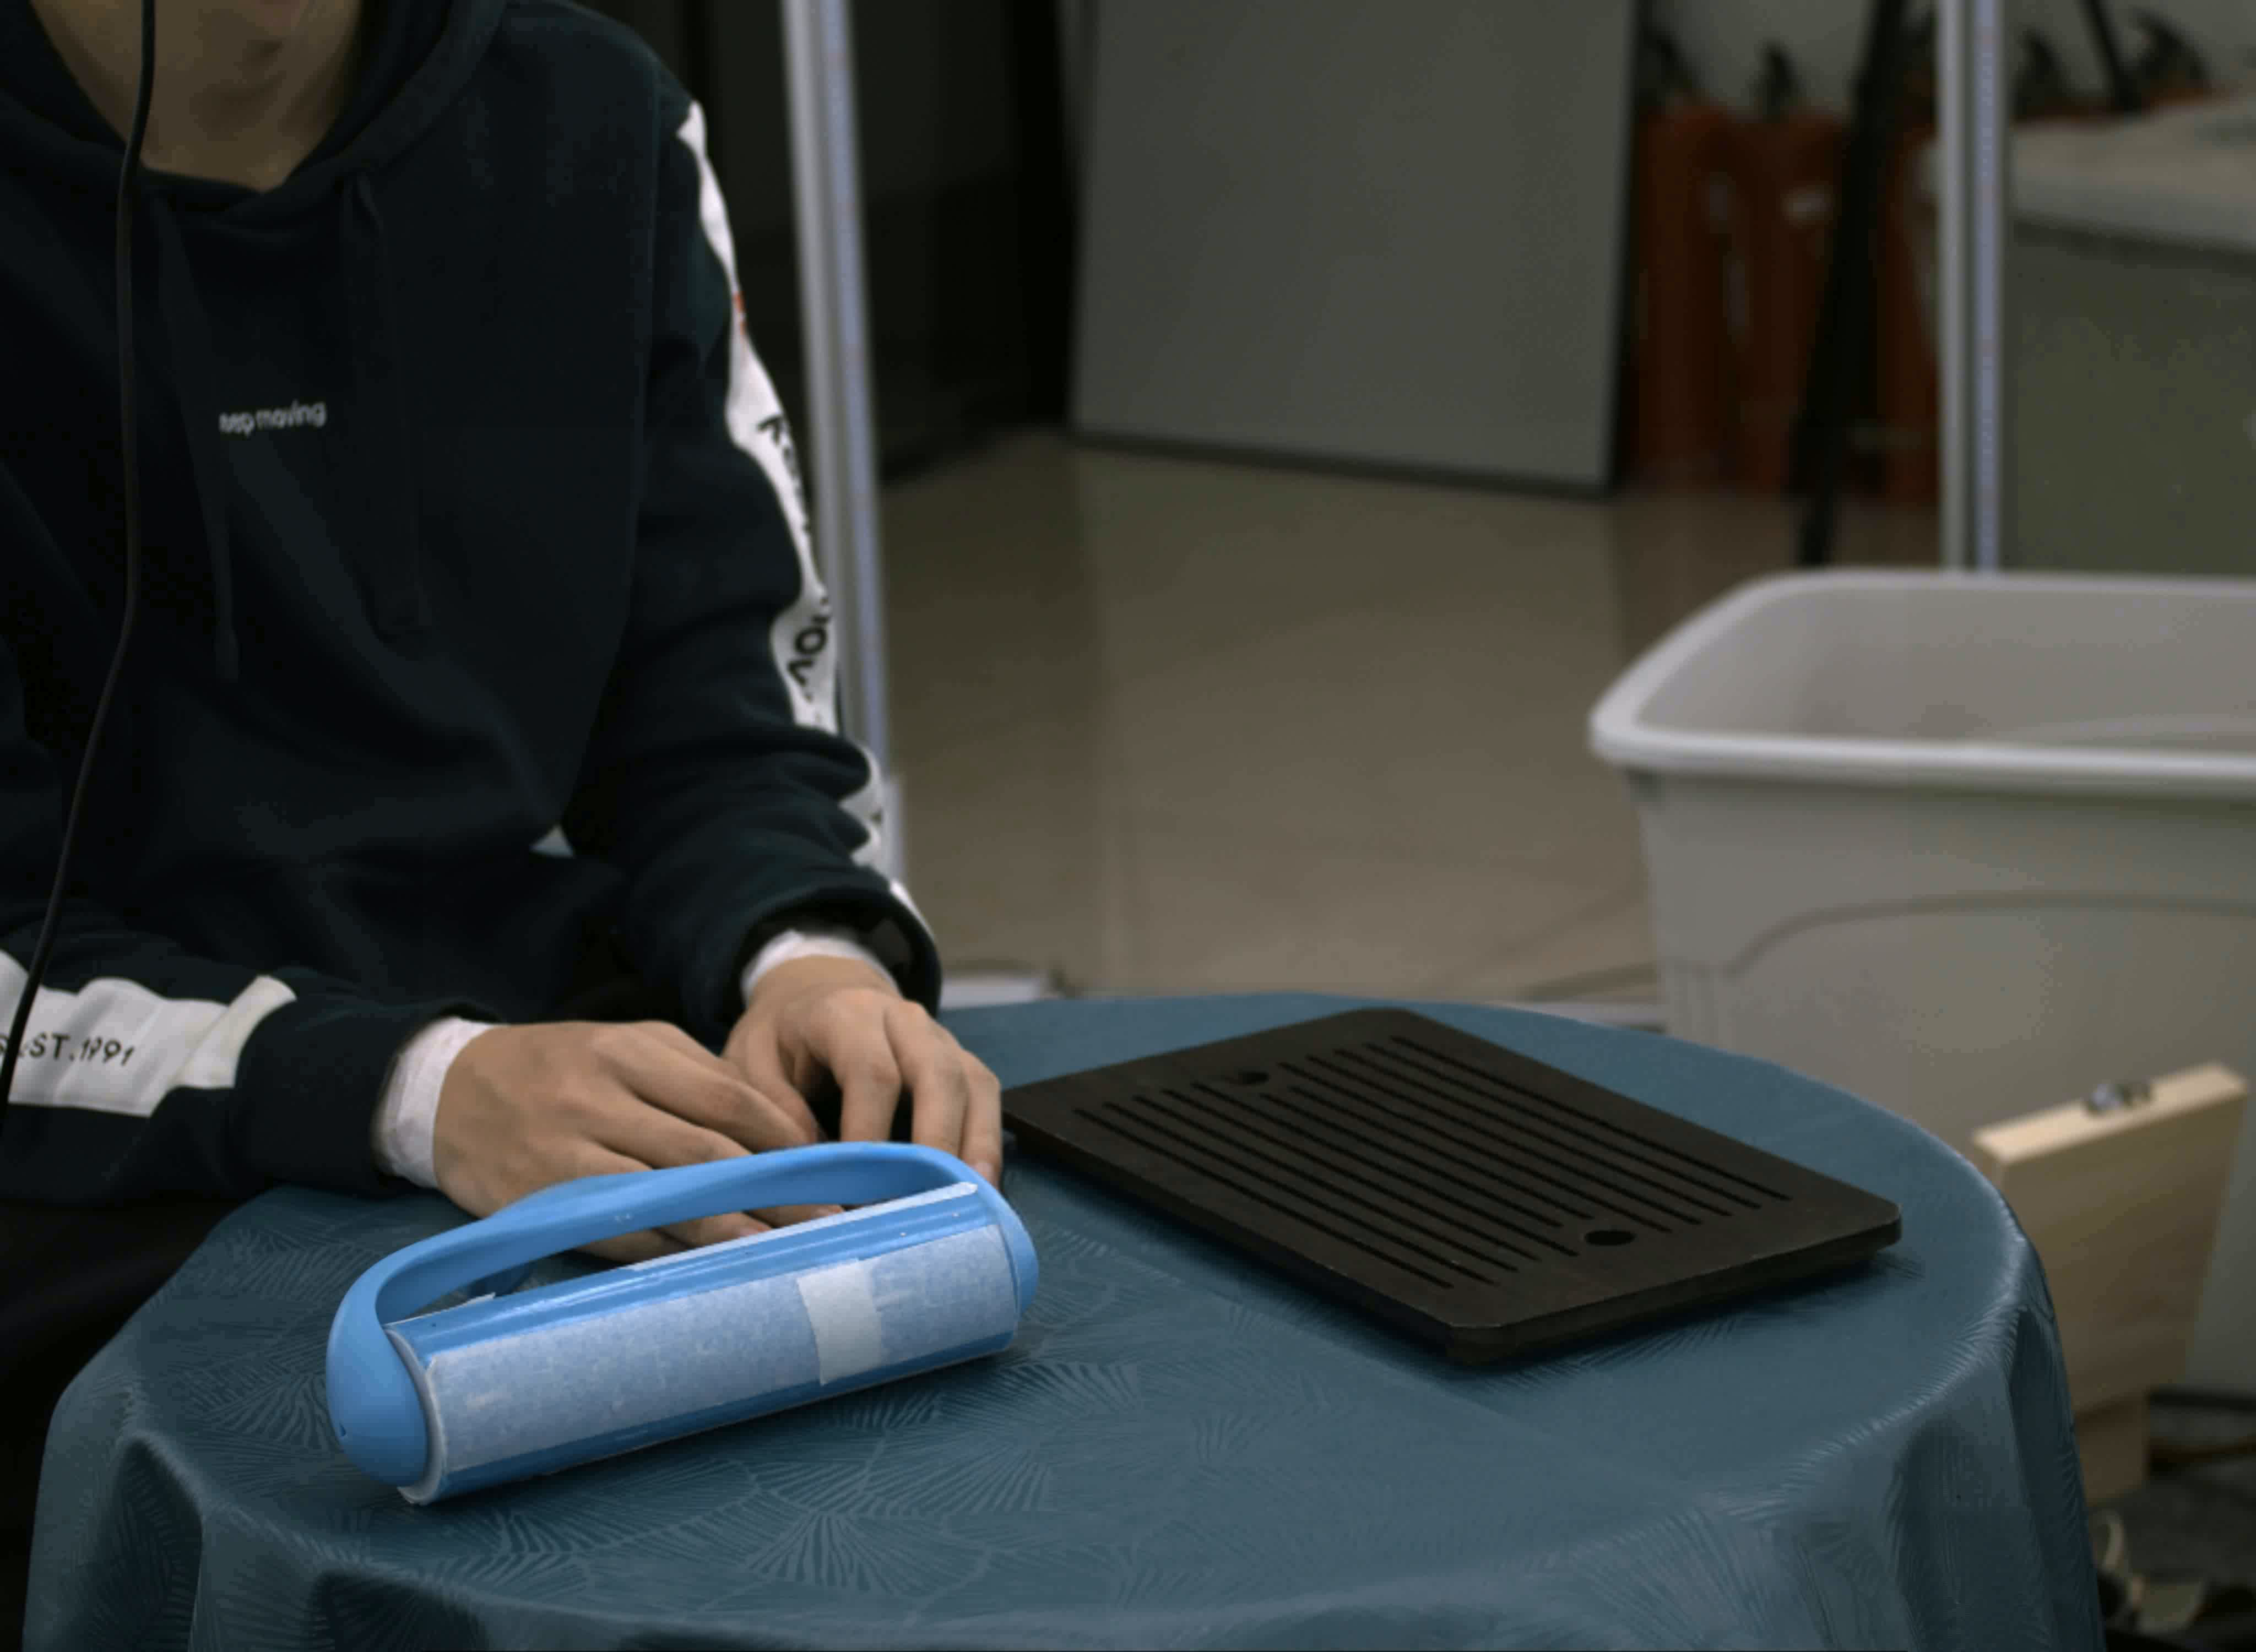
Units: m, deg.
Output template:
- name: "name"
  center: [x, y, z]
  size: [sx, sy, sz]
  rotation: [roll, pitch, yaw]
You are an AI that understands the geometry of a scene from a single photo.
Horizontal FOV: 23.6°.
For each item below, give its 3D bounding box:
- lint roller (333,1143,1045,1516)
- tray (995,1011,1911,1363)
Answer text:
- name: "lint roller"
  center: [-0.157, 0.139, 1.625]
  size: [0.224, 0.068, 0.182]
  rotation: [-15, 19, -31]
- name: "tray"
  center: [0.098, 0.113, 1.739]
  size: [0.166, 0.019, 0.309]
  rotation: [-12, 16, -28]
